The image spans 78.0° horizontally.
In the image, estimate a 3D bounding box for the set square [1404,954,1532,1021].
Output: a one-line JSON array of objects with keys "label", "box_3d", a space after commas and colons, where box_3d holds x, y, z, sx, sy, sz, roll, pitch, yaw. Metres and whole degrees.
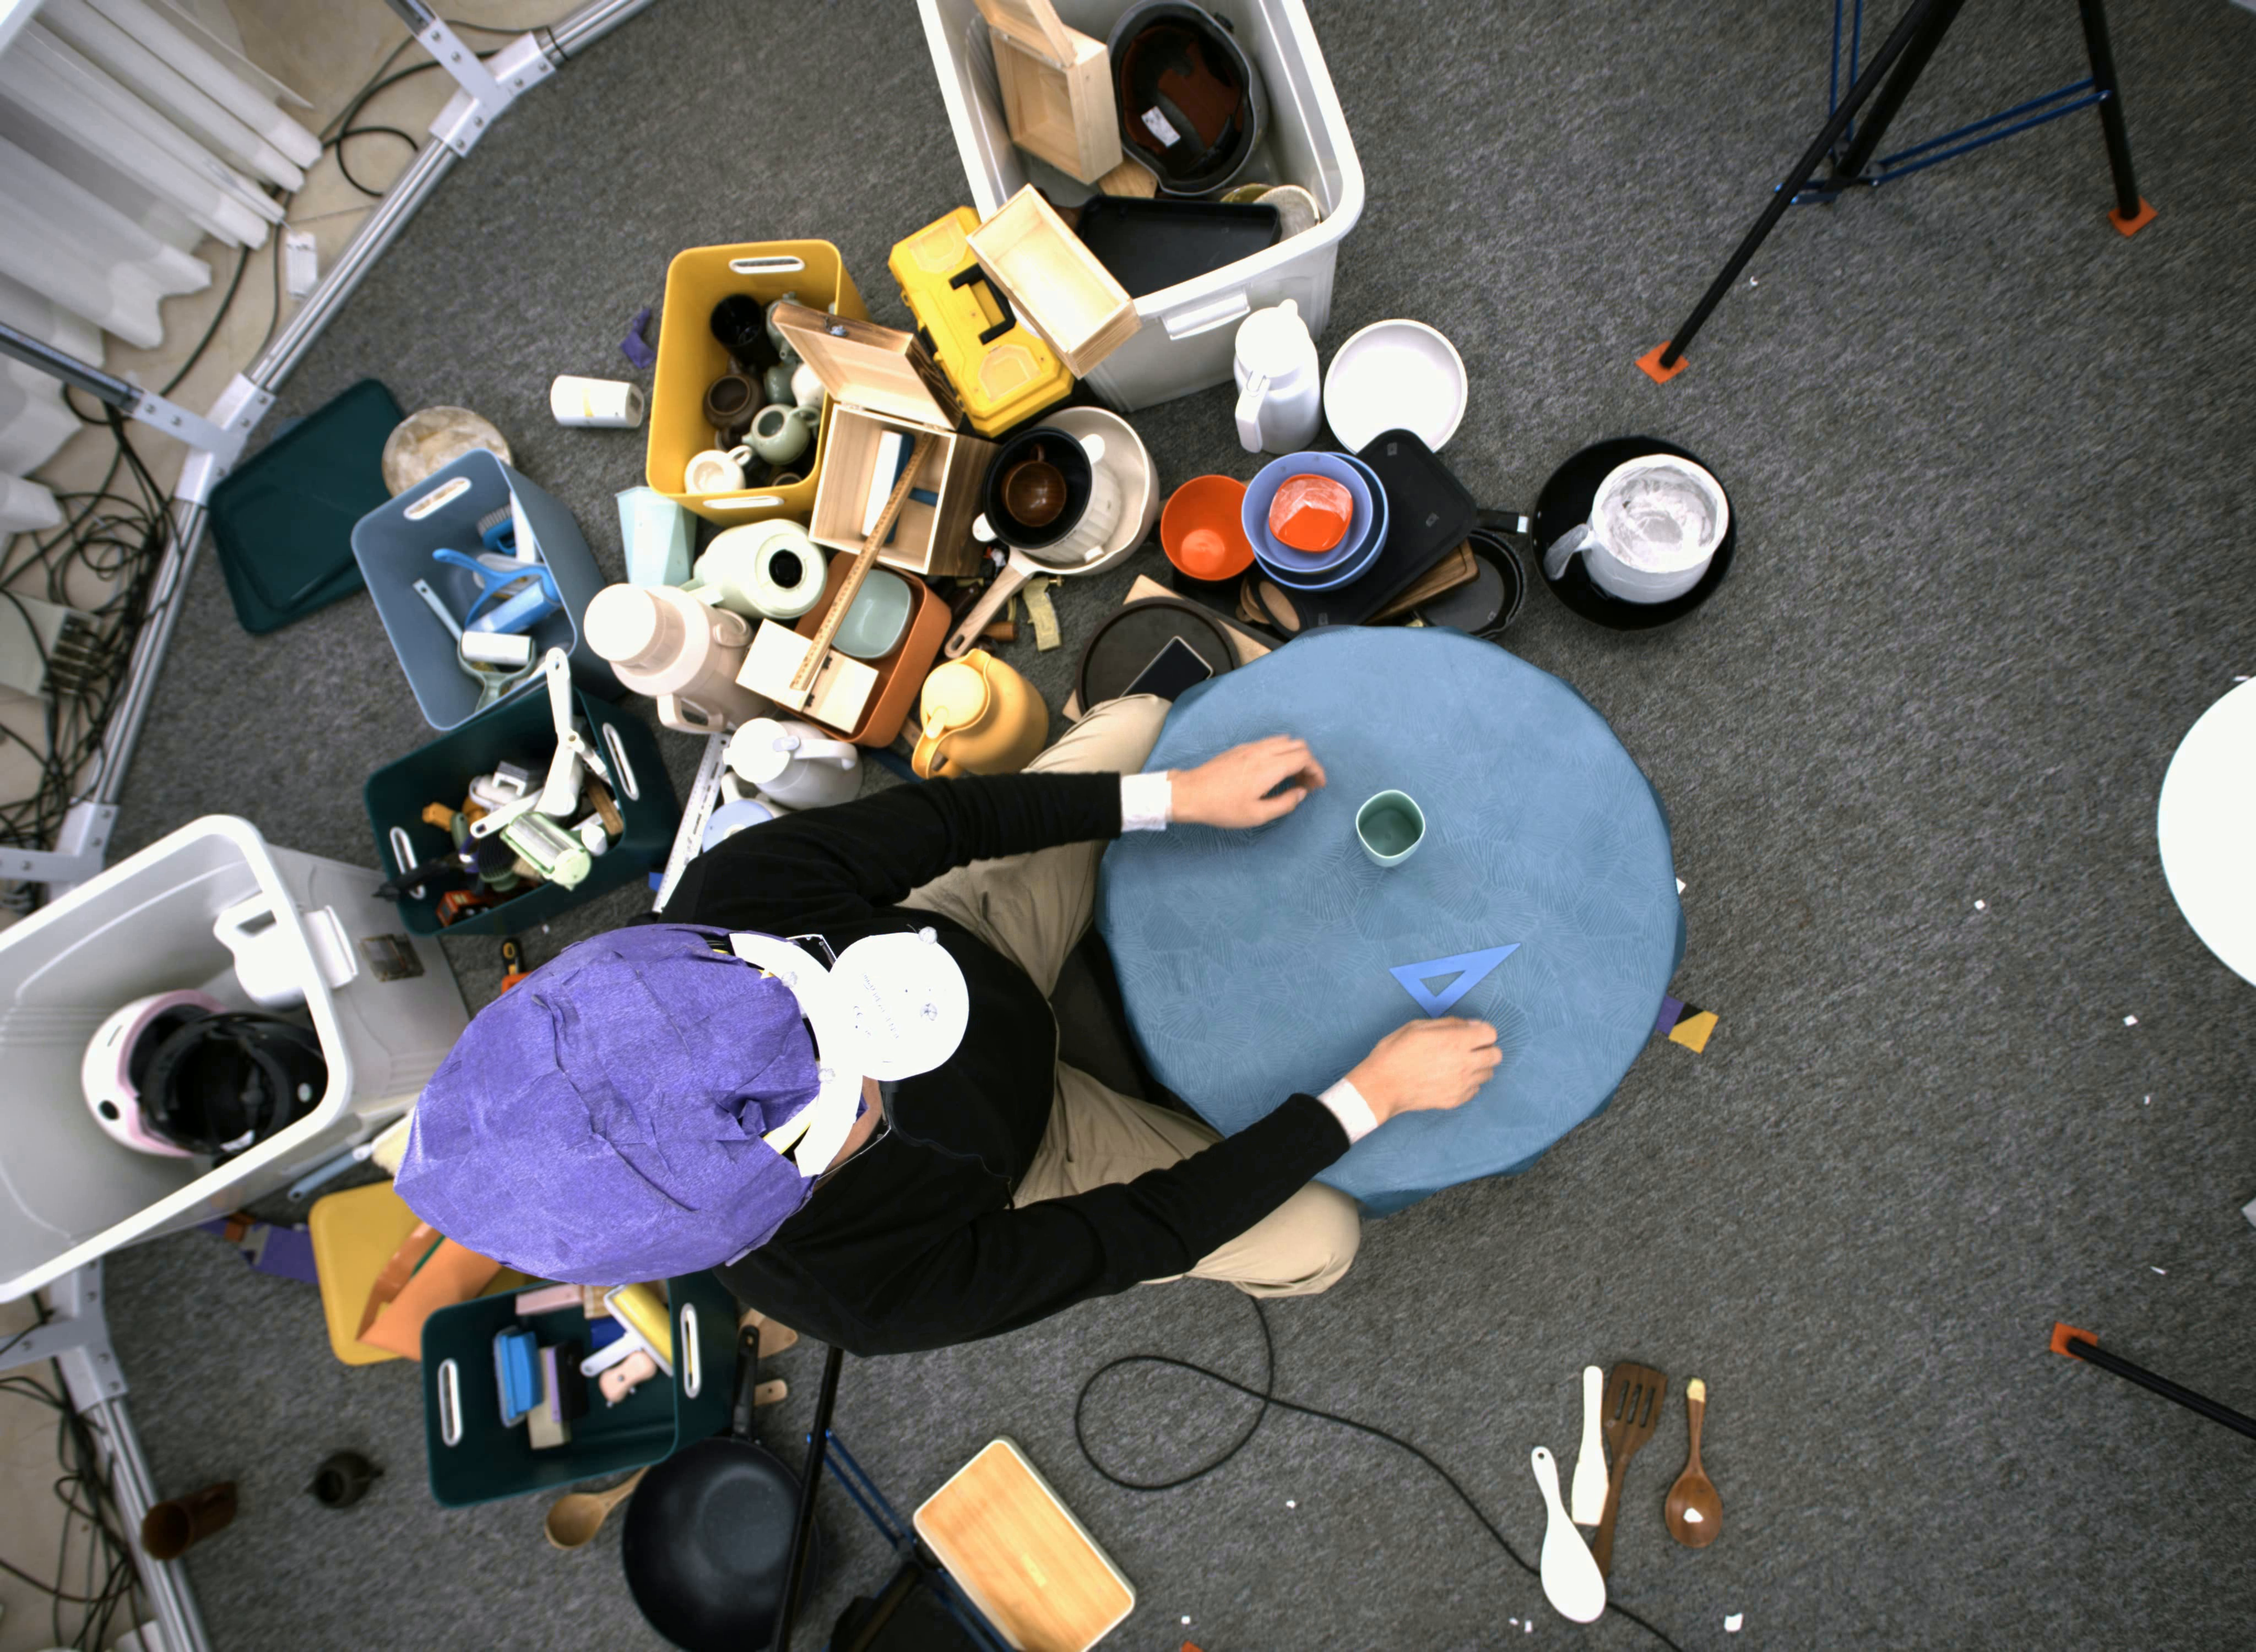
[{"label": "set square", "box_3d": [0.357, 0.167, 1.436, 0.132, 0.006, 0.061, -8, 84, 10]}]

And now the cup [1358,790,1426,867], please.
[{"label": "cup", "box_3d": [0.265, 0.004, 1.402, 0.067, 0.132, 0.066, -1, 84, 9]}]
